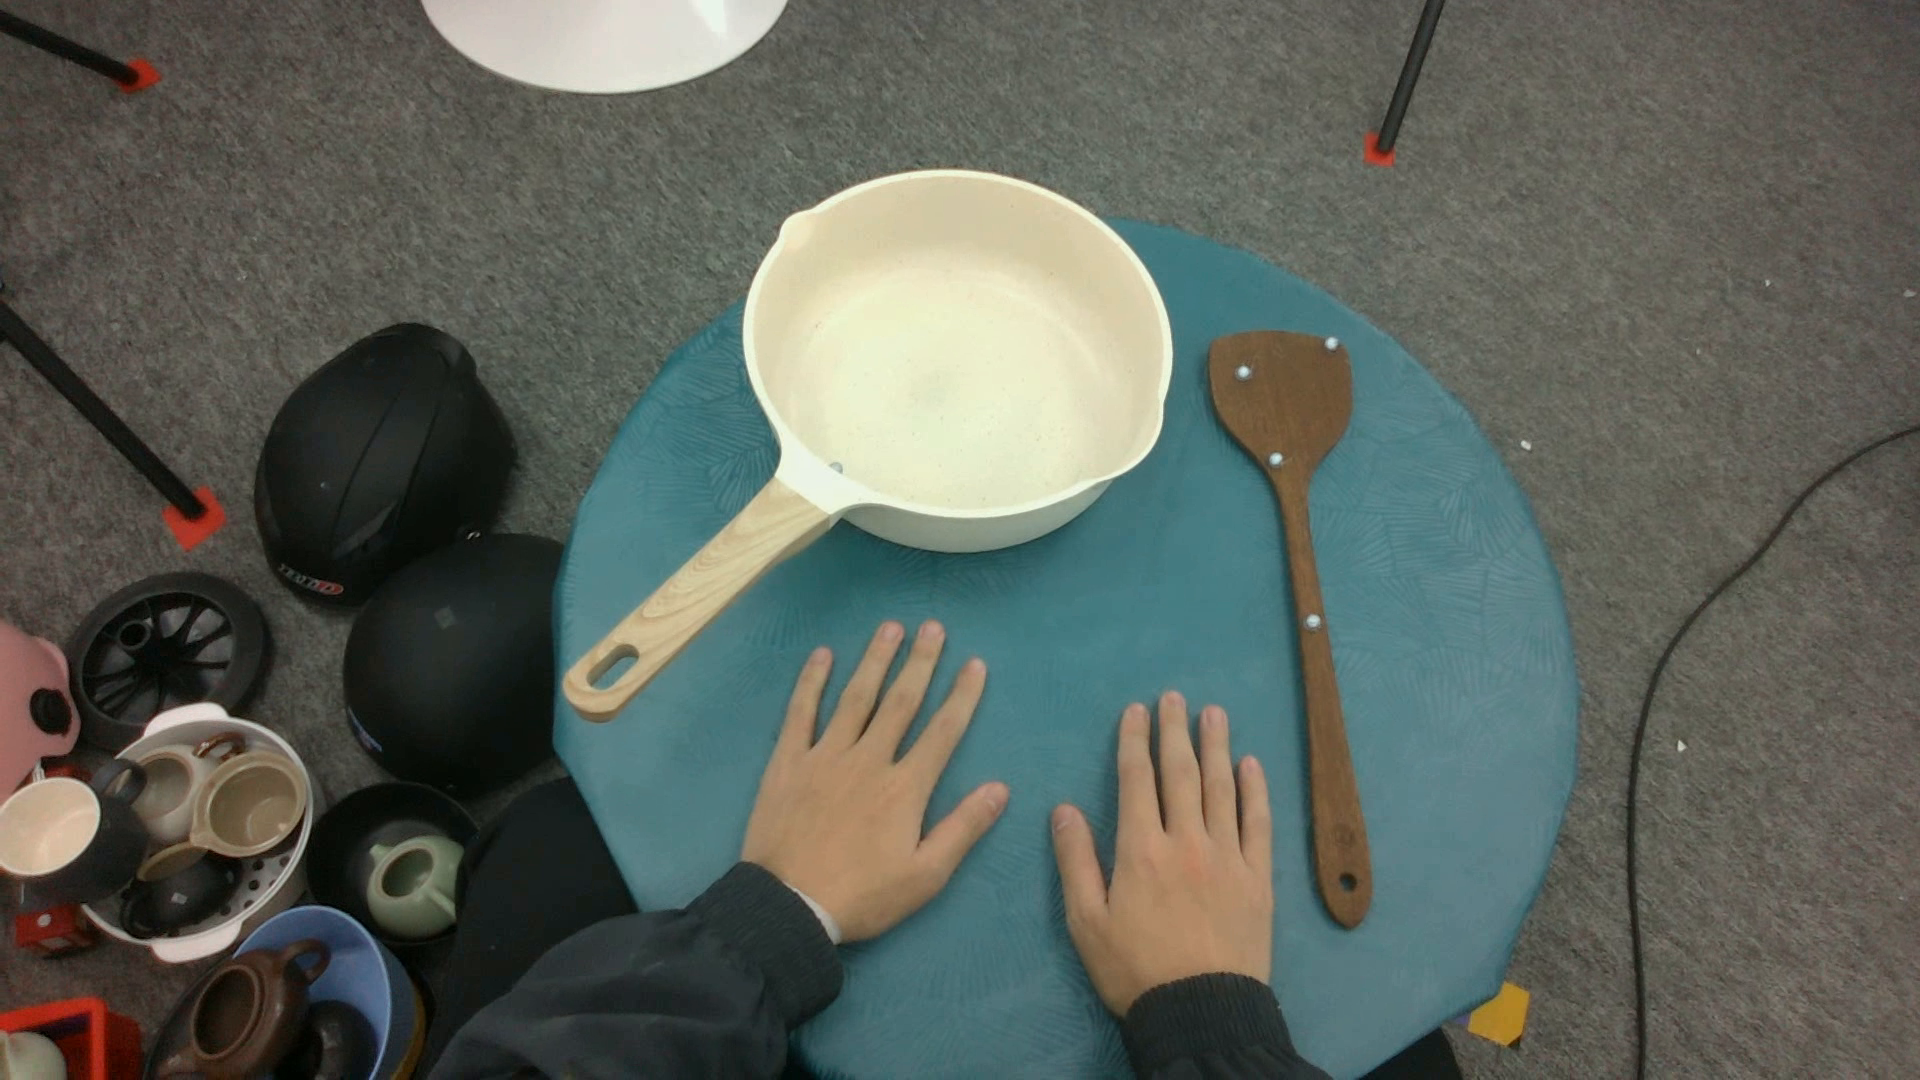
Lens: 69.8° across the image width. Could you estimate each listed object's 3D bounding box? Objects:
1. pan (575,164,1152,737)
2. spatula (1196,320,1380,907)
[{"bbox_3d":[-0.065,-0.046,0.802,0.263,0.101,0.436,33,64,12],"label":"pan"},{"bbox_3d":[0.208,0.025,0.830,0.096,0.016,0.387,0,62,-3],"label":"spatula"}]
